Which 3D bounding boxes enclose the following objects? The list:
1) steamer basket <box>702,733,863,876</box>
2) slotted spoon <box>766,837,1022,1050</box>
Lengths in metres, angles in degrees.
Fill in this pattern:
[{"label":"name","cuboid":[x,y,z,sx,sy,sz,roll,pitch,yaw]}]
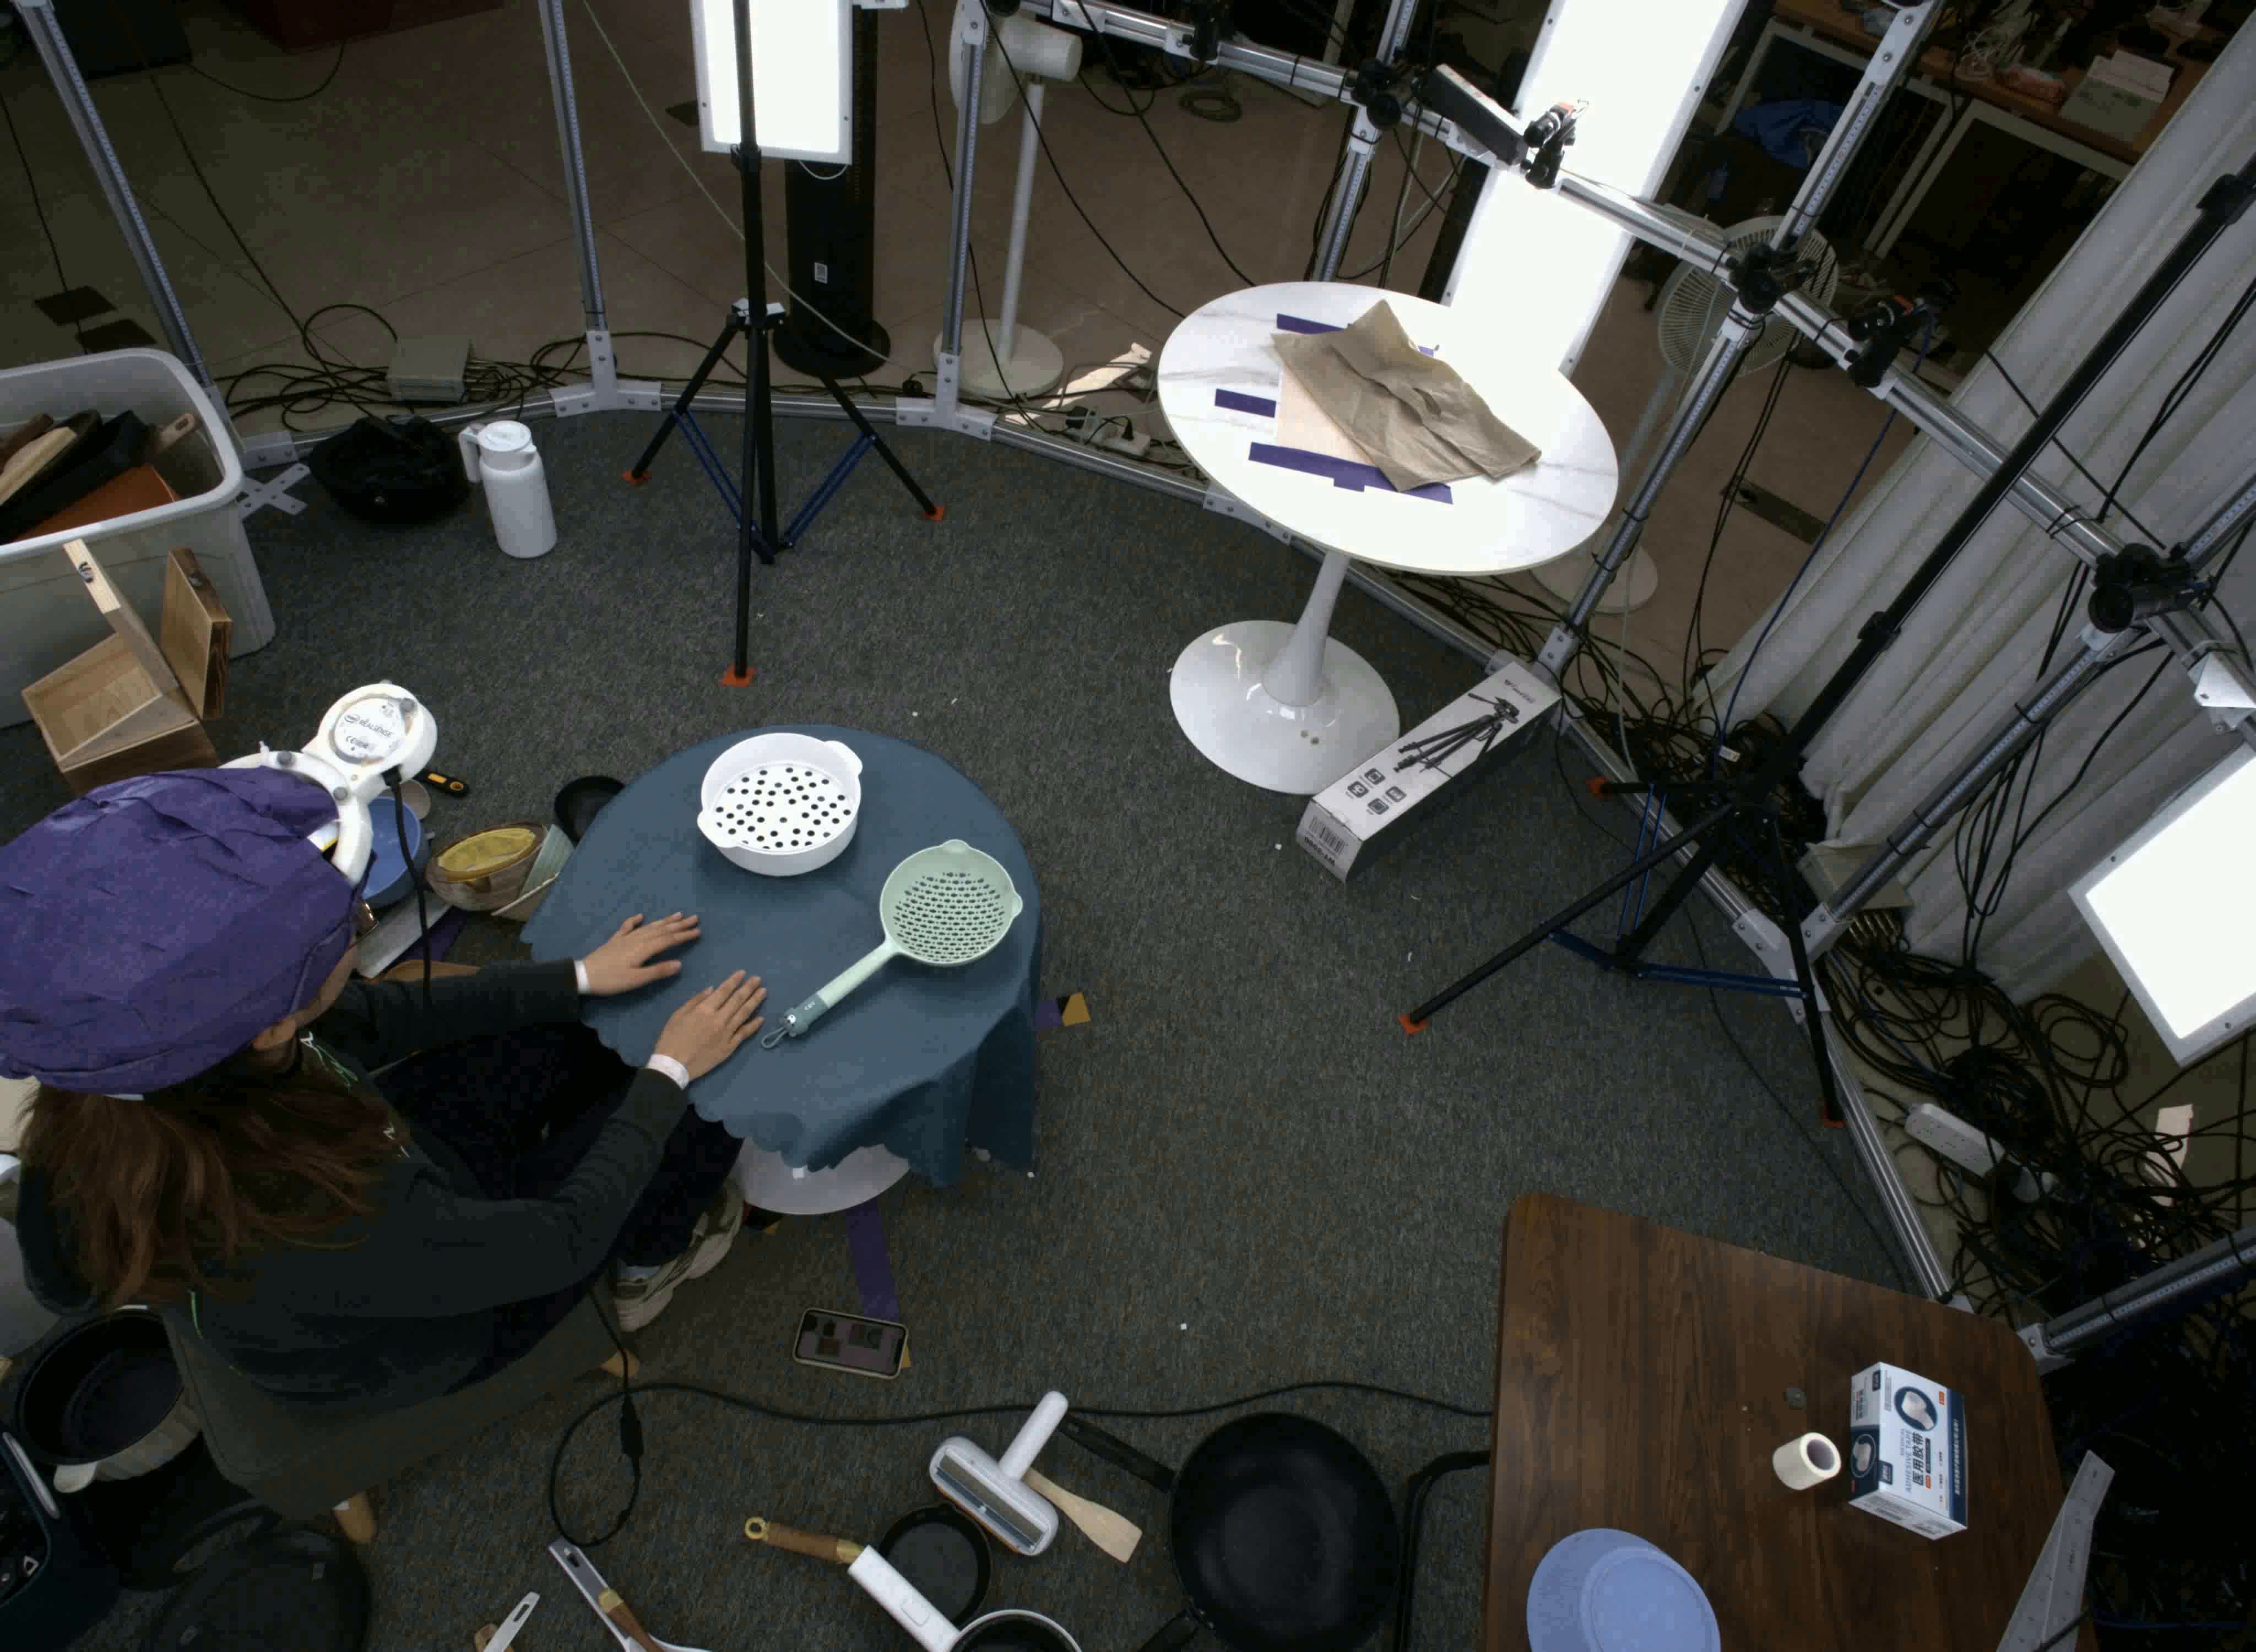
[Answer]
[{"label":"steamer basket","cuboid":[-0.450,-0.028,1.704,0.197,0.071,0.231,40,56,19]},{"label":"slotted spoon","cuboid":[-0.297,0.154,1.606,0.360,0.077,0.165,-34,67,-32]}]
